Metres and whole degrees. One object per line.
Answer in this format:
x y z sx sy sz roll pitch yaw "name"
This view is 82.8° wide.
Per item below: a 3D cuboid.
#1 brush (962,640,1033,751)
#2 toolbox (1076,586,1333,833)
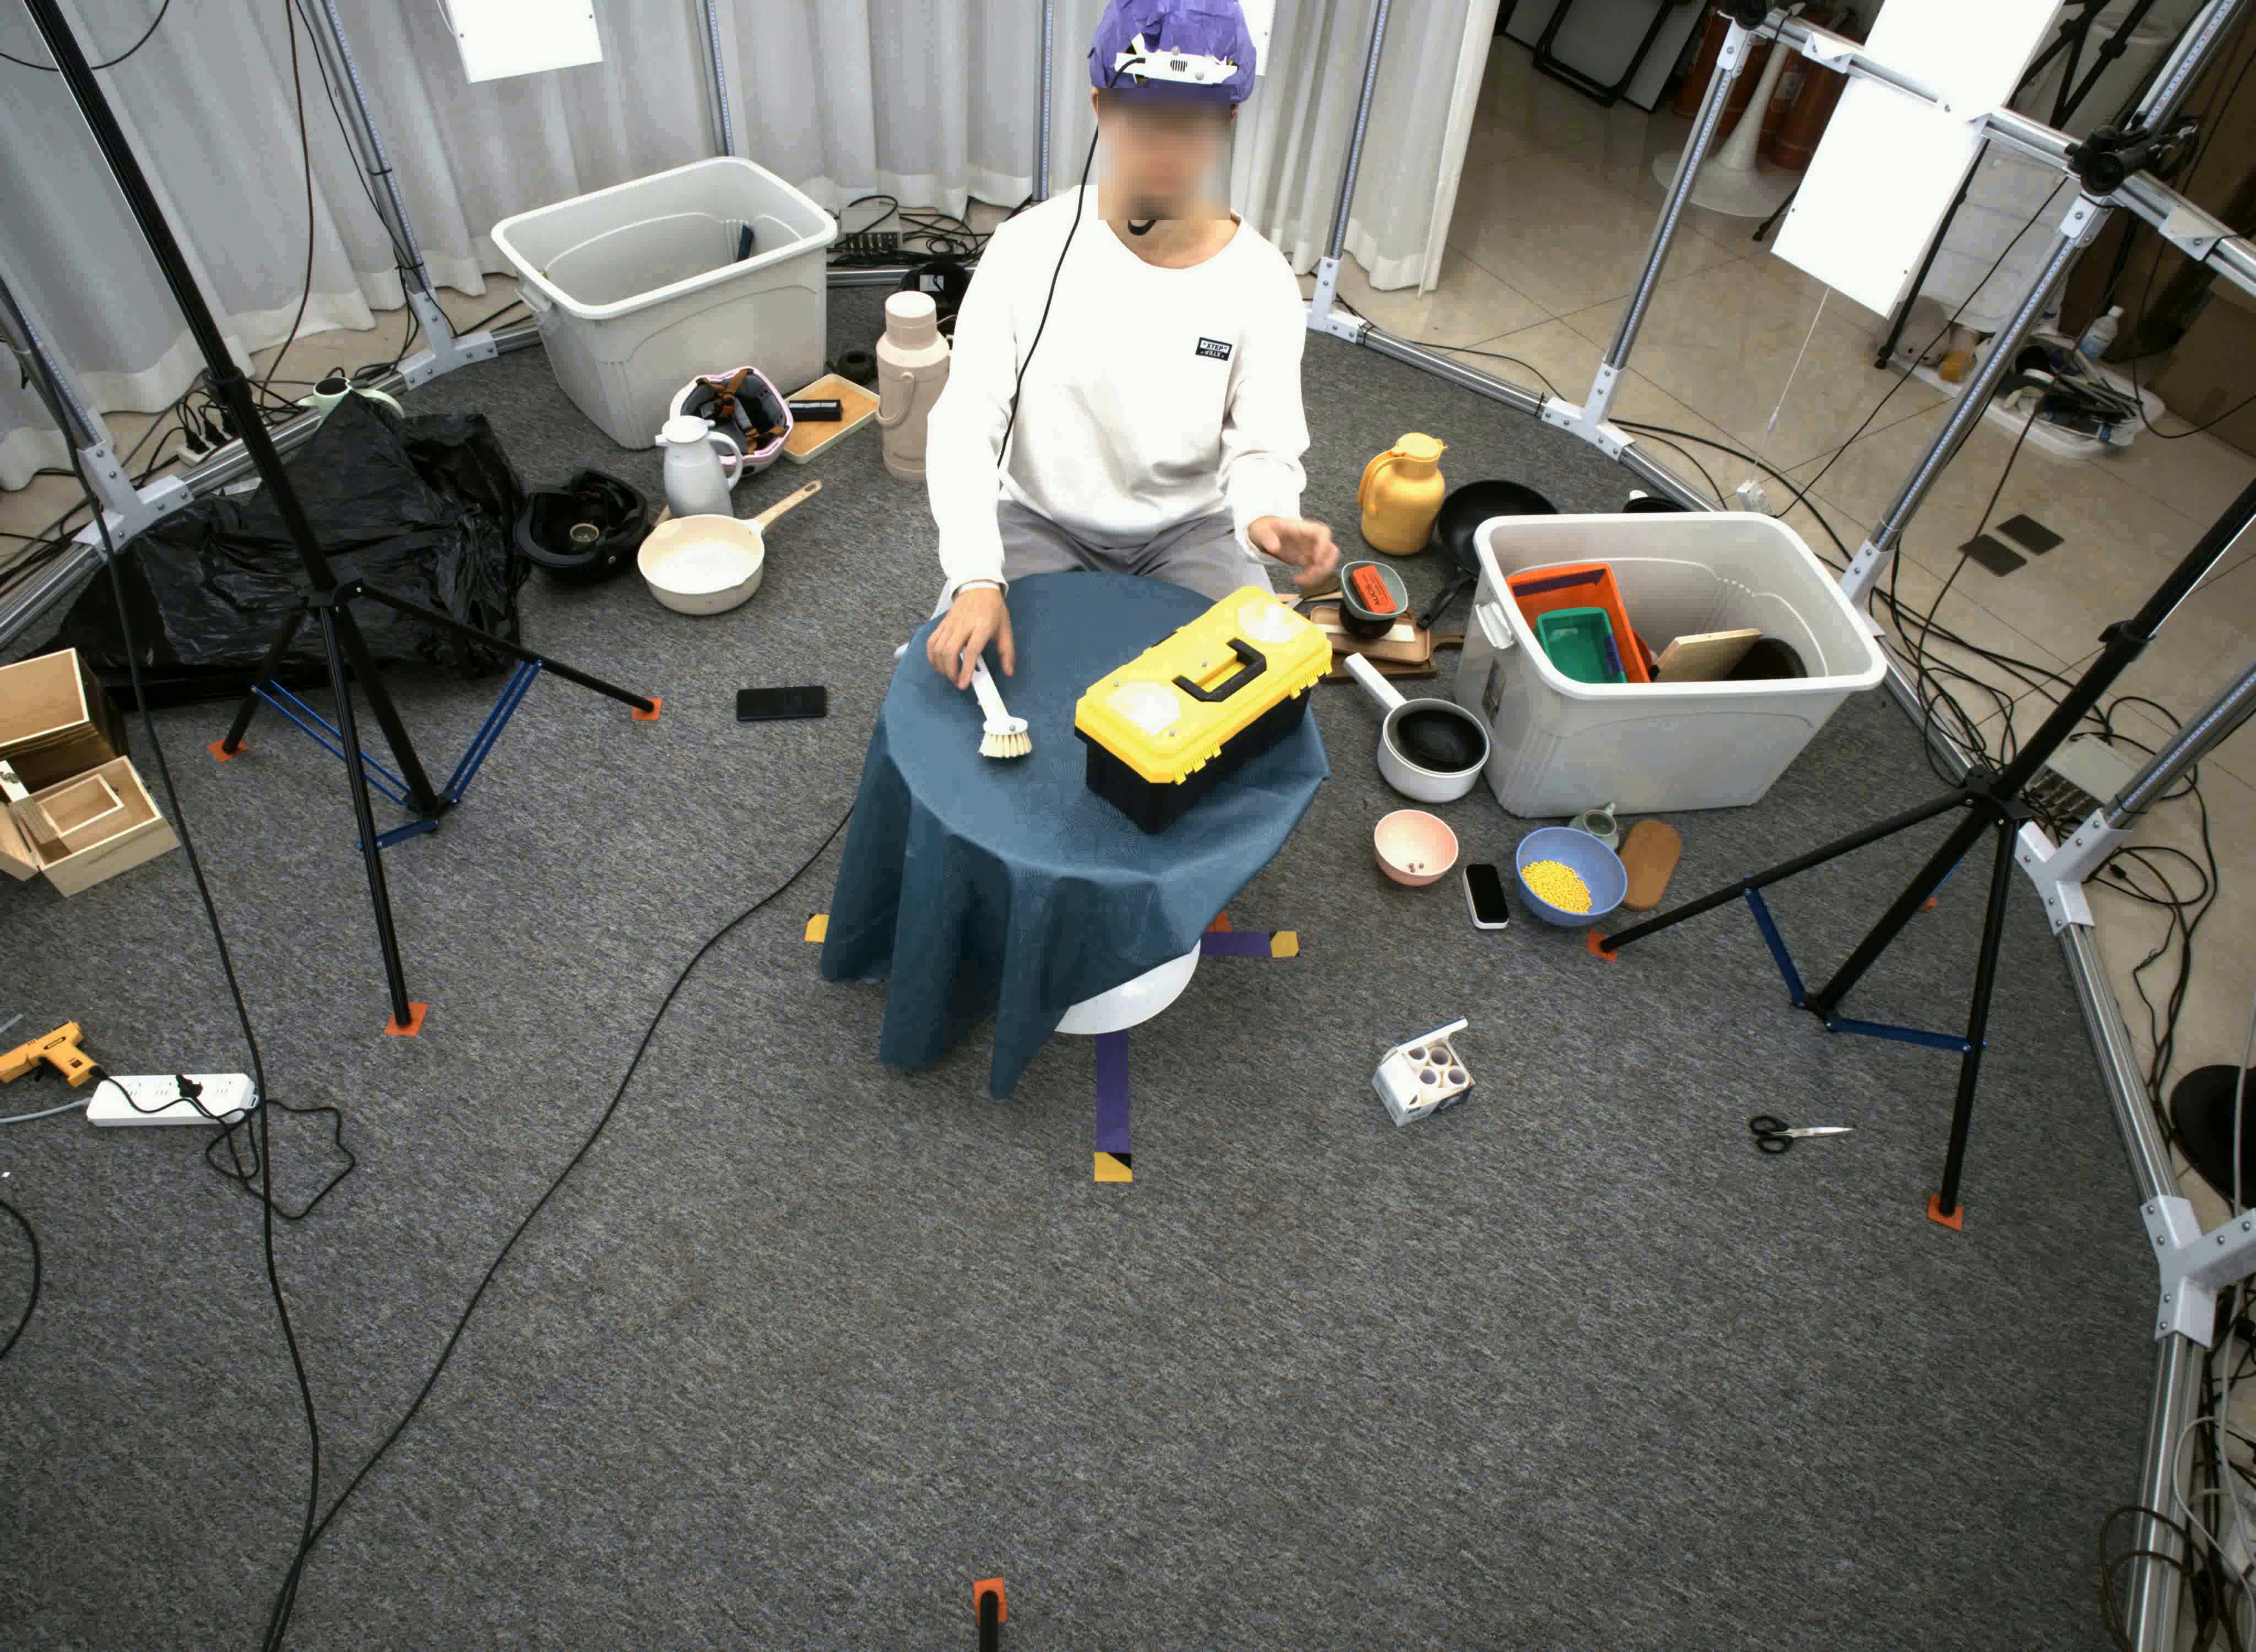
-0.193 -0.179 1.799 0.068 0.055 0.272 6 29 -27 "brush"
0.099 -0.157 1.696 0.184 0.168 0.355 38 56 25 "toolbox"
